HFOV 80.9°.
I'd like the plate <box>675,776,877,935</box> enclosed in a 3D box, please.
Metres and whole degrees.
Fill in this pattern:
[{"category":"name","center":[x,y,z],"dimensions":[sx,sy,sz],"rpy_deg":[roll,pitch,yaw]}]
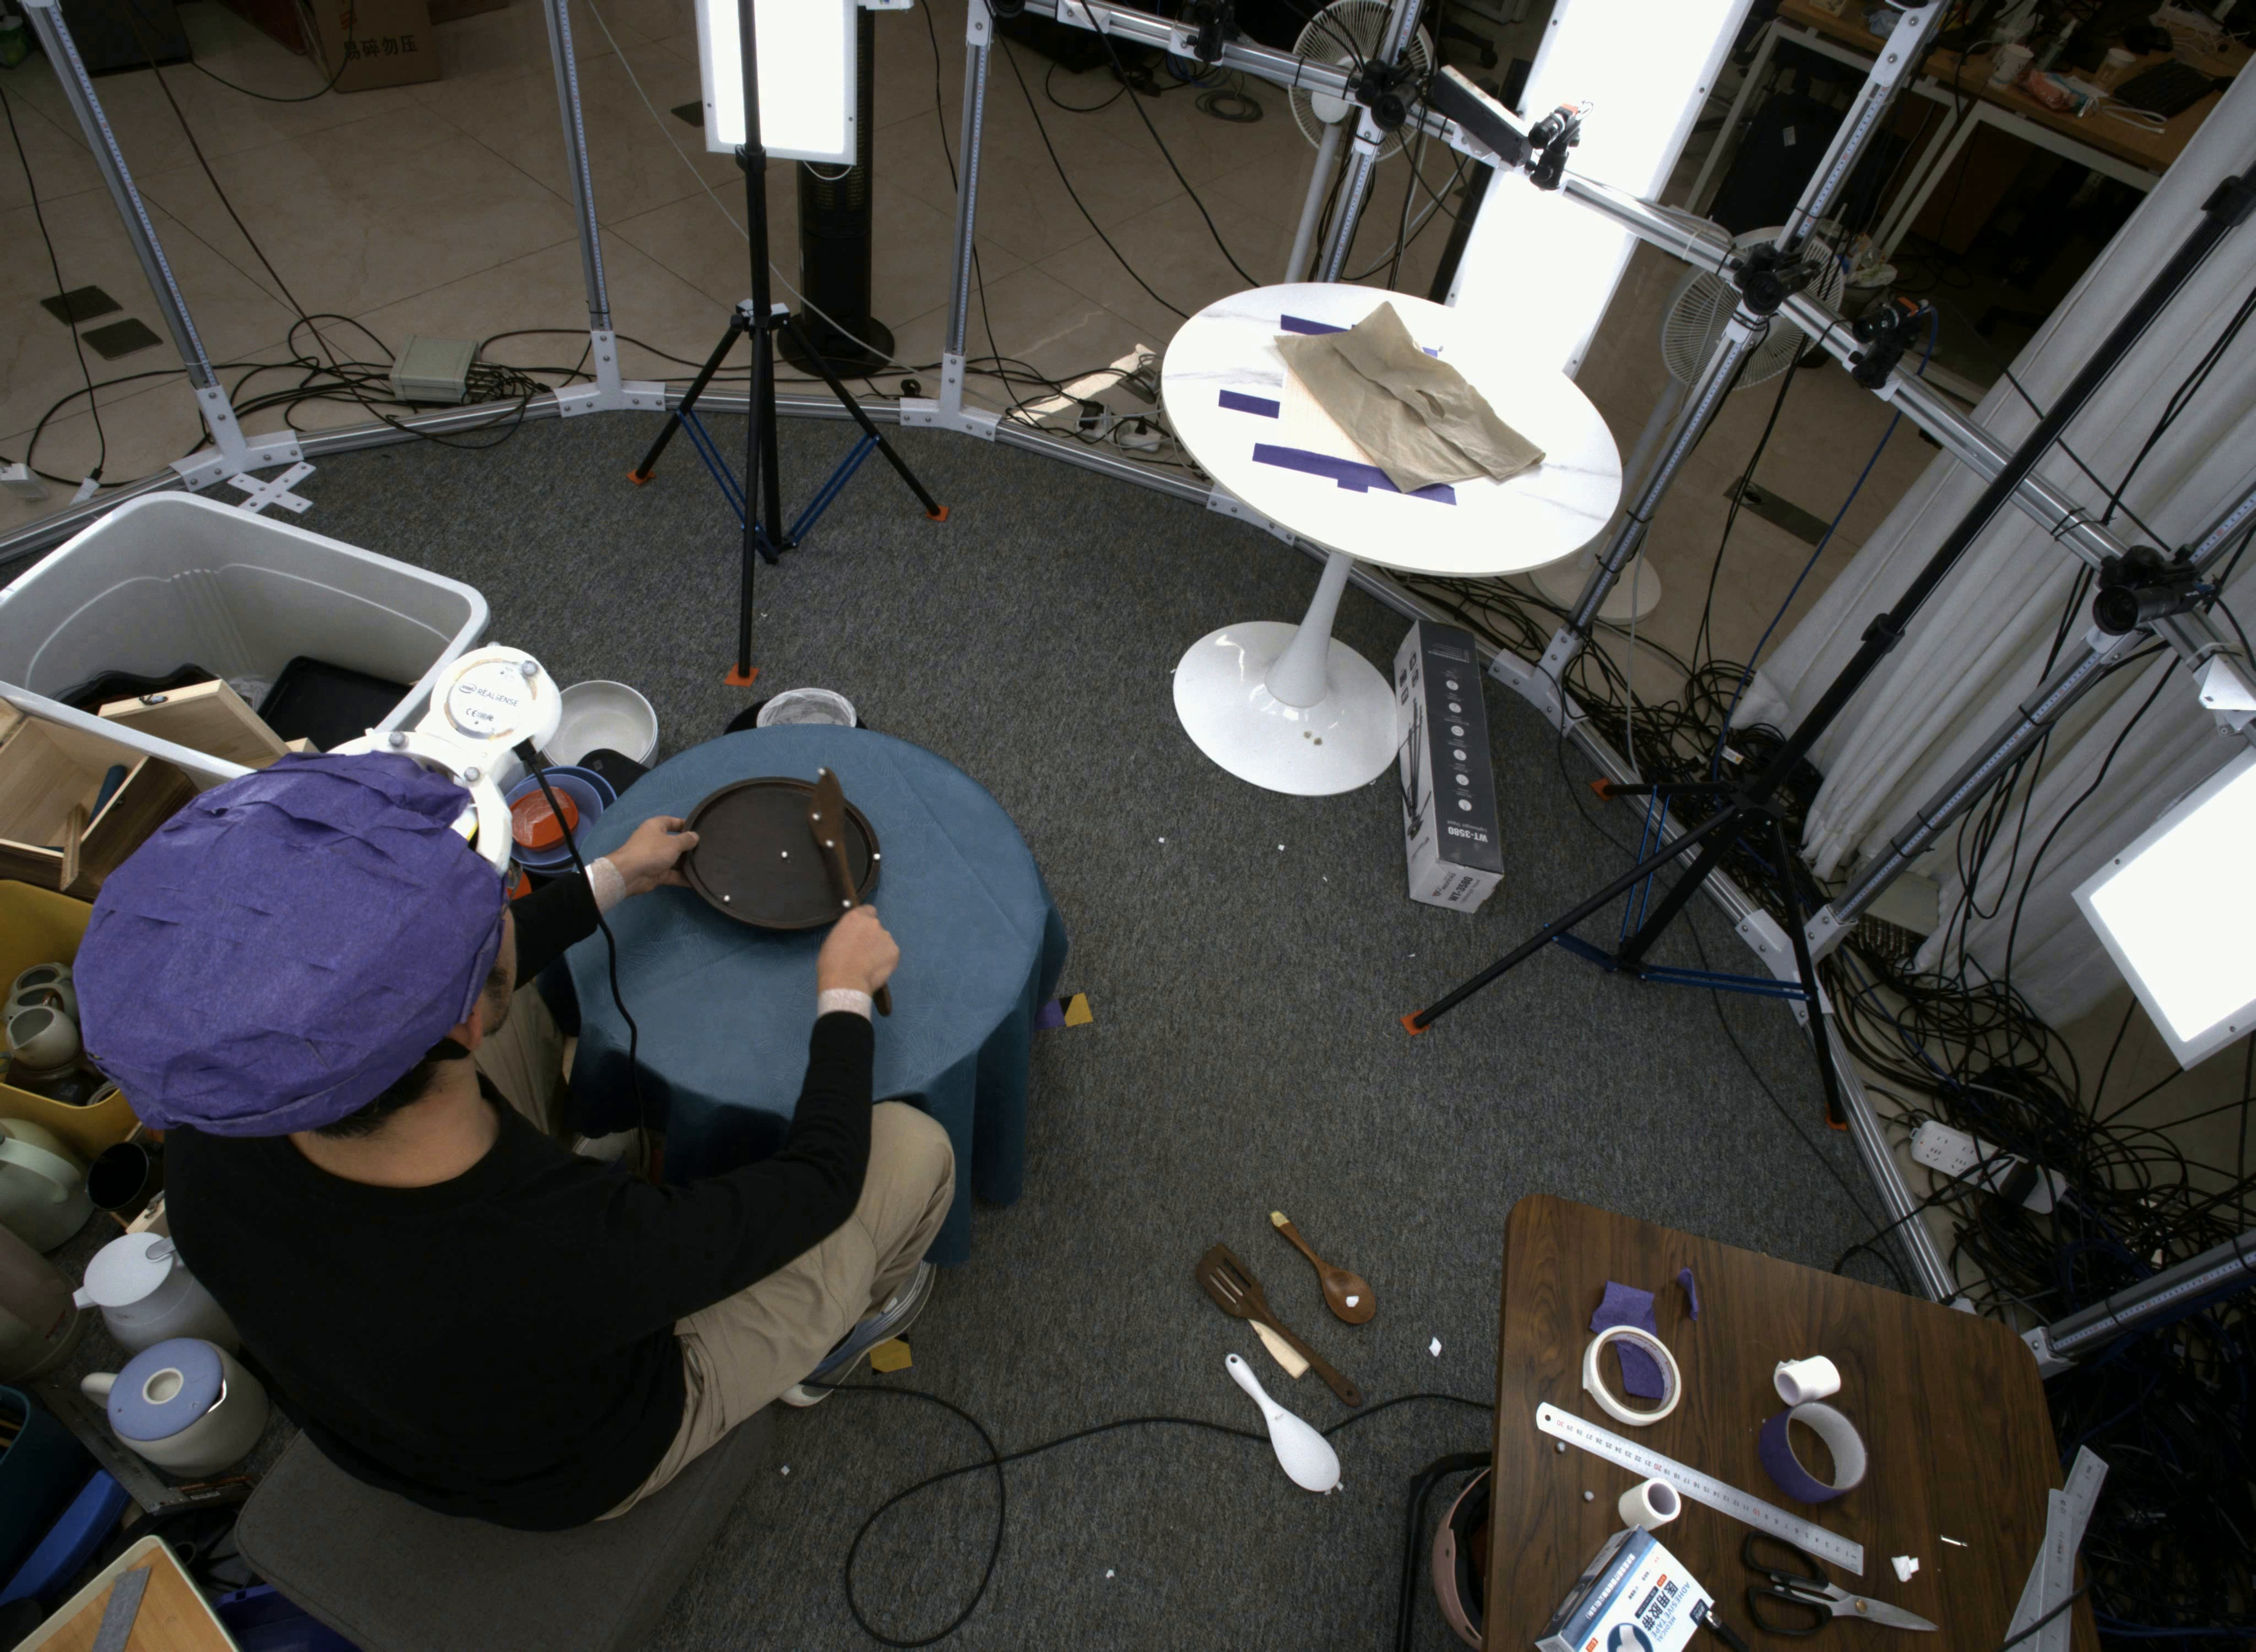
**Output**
[{"category":"plate","center":[-0.448,0.034,1.652],"dimensions":[0.256,0.029,0.250],"rpy_deg":[15,47,-14]}]

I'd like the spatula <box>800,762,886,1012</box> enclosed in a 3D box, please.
[{"category":"spatula","center":[-0.346,0.072,1.571],"dimensions":[0.016,0.097,0.374],"rpy_deg":[2,43,-32]}]
